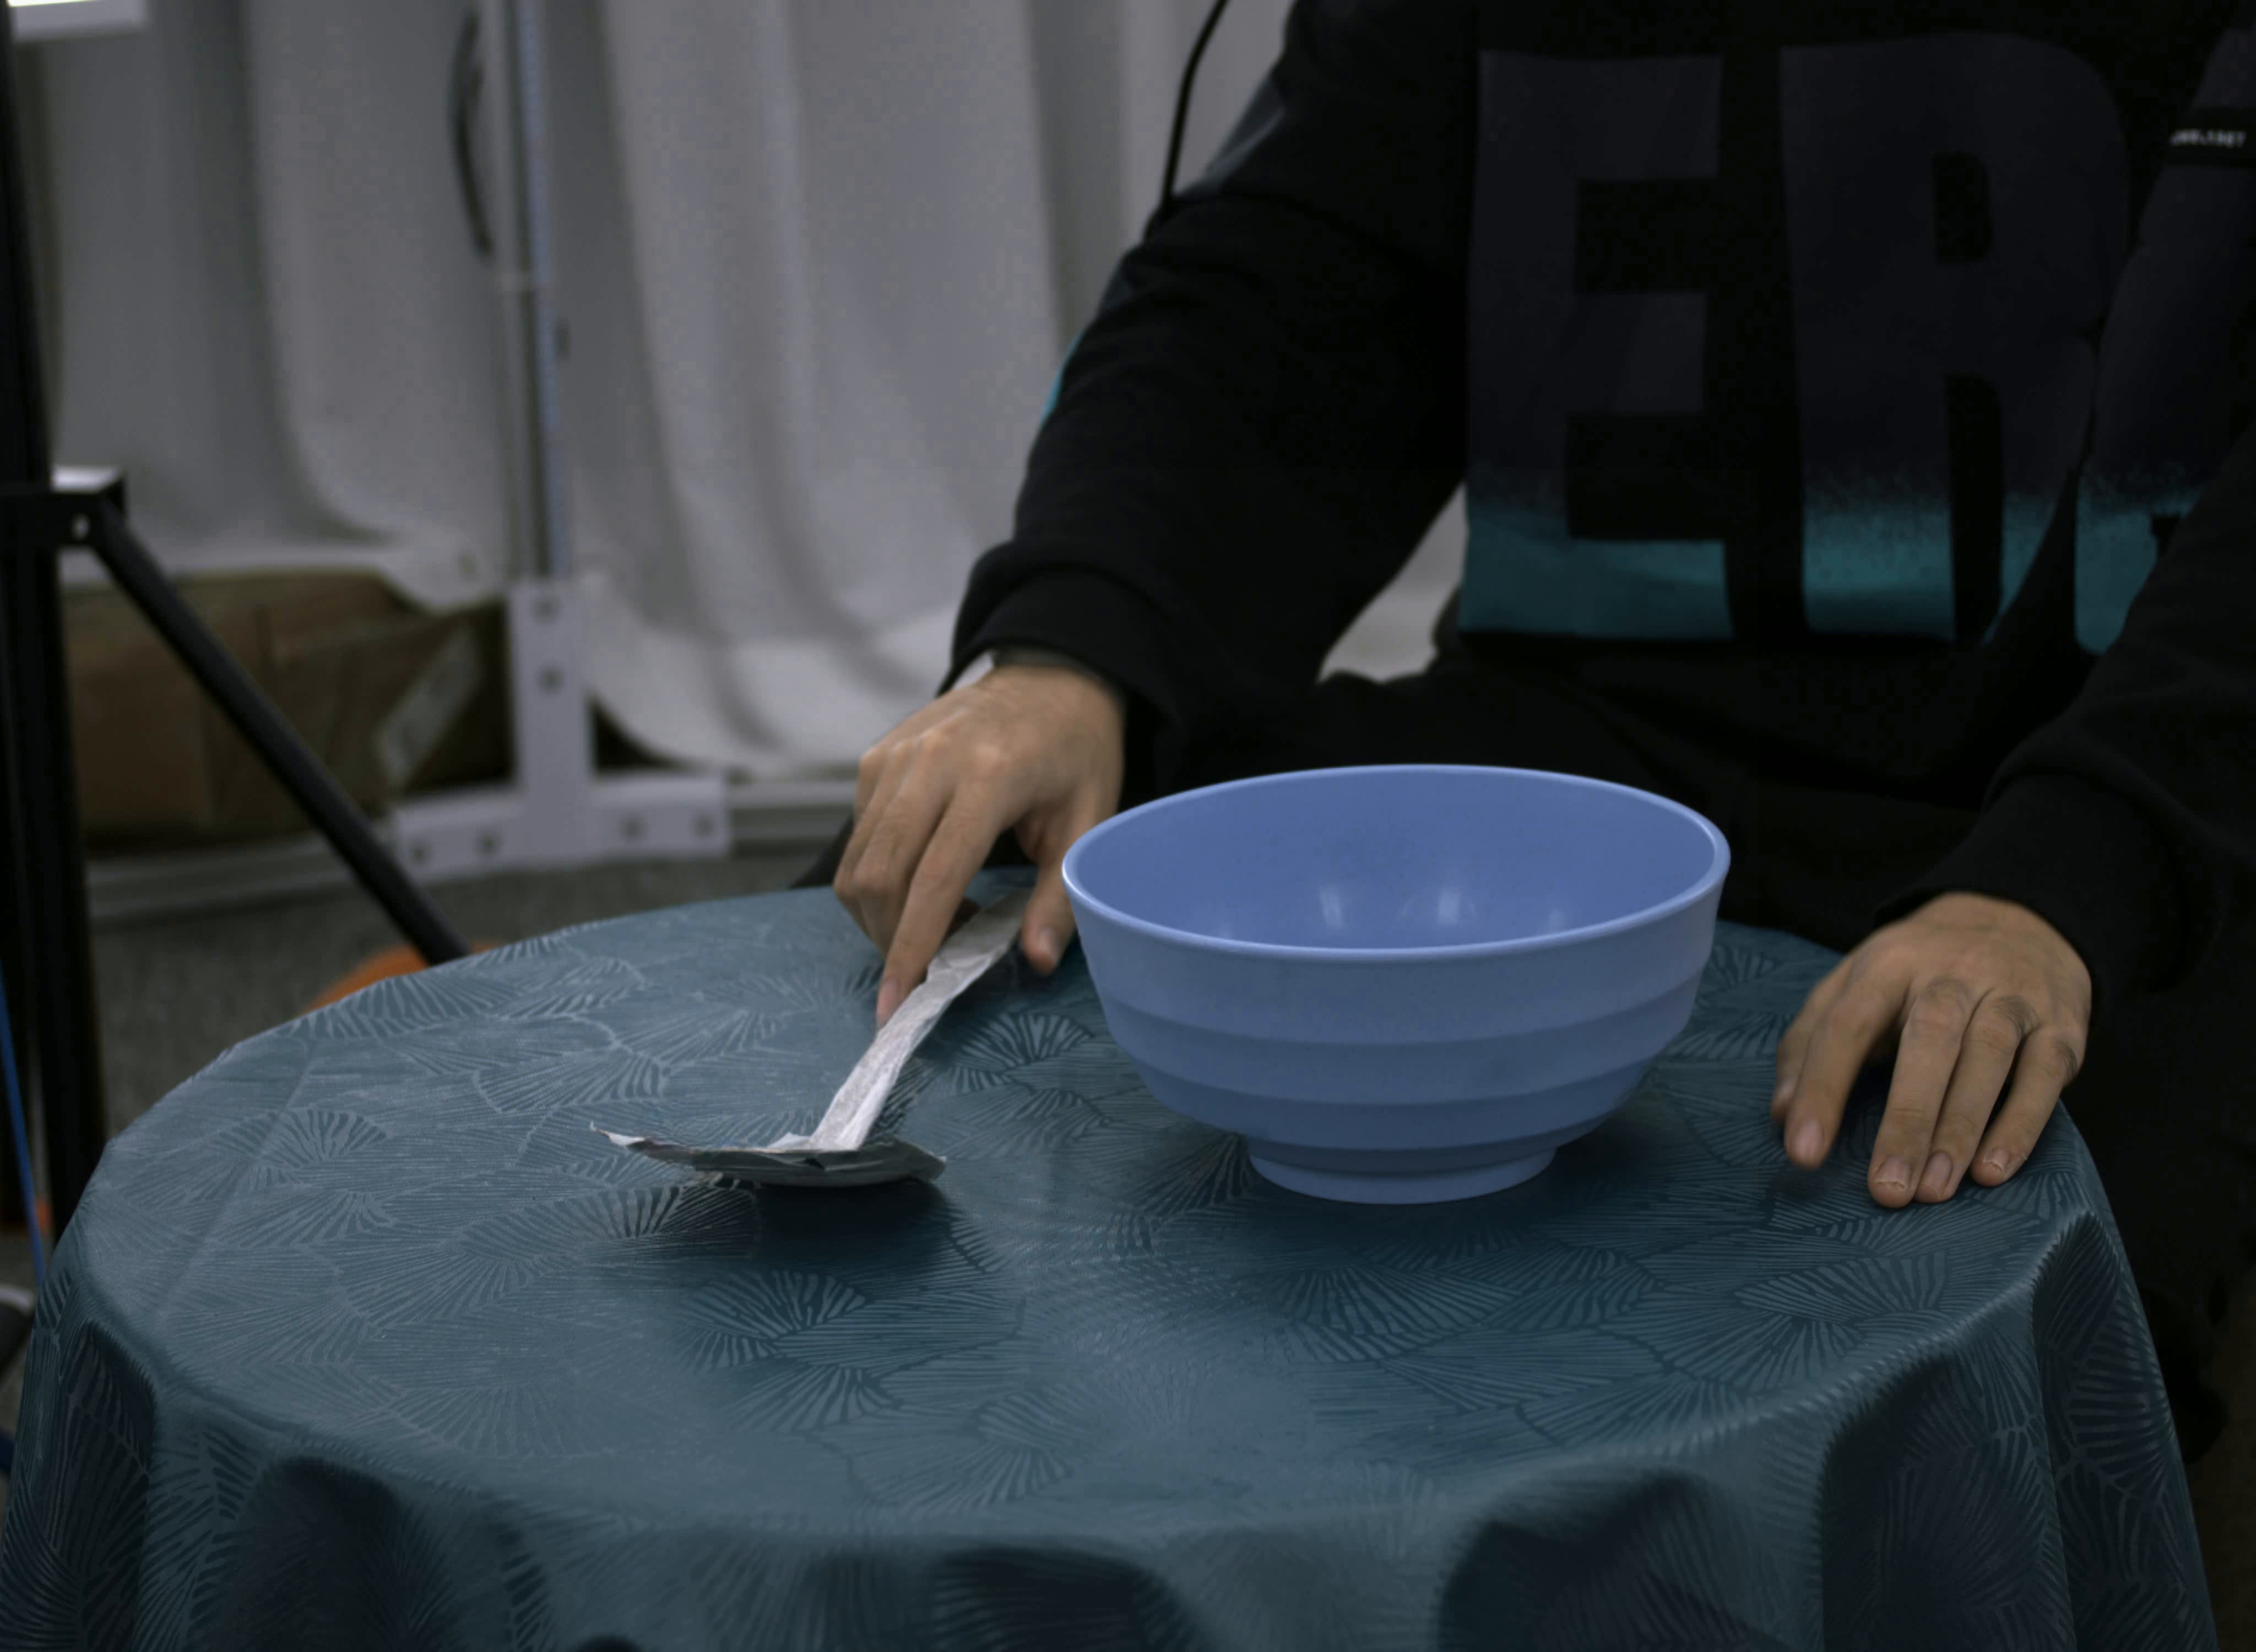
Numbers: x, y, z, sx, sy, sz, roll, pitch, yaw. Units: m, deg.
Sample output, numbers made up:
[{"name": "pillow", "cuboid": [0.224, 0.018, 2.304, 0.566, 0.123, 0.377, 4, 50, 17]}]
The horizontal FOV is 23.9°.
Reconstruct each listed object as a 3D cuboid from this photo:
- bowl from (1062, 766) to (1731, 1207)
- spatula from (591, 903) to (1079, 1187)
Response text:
[{"name": "bowl", "cuboid": [0.081, 0.053, 1.567, 0.195, 0.095, 0.197, -4, 16, 0]}, {"name": "spatula", "cuboid": [-0.065, 0.059, 1.672, 0.099, 0.045, 0.362, 0, 16, 16]}]
